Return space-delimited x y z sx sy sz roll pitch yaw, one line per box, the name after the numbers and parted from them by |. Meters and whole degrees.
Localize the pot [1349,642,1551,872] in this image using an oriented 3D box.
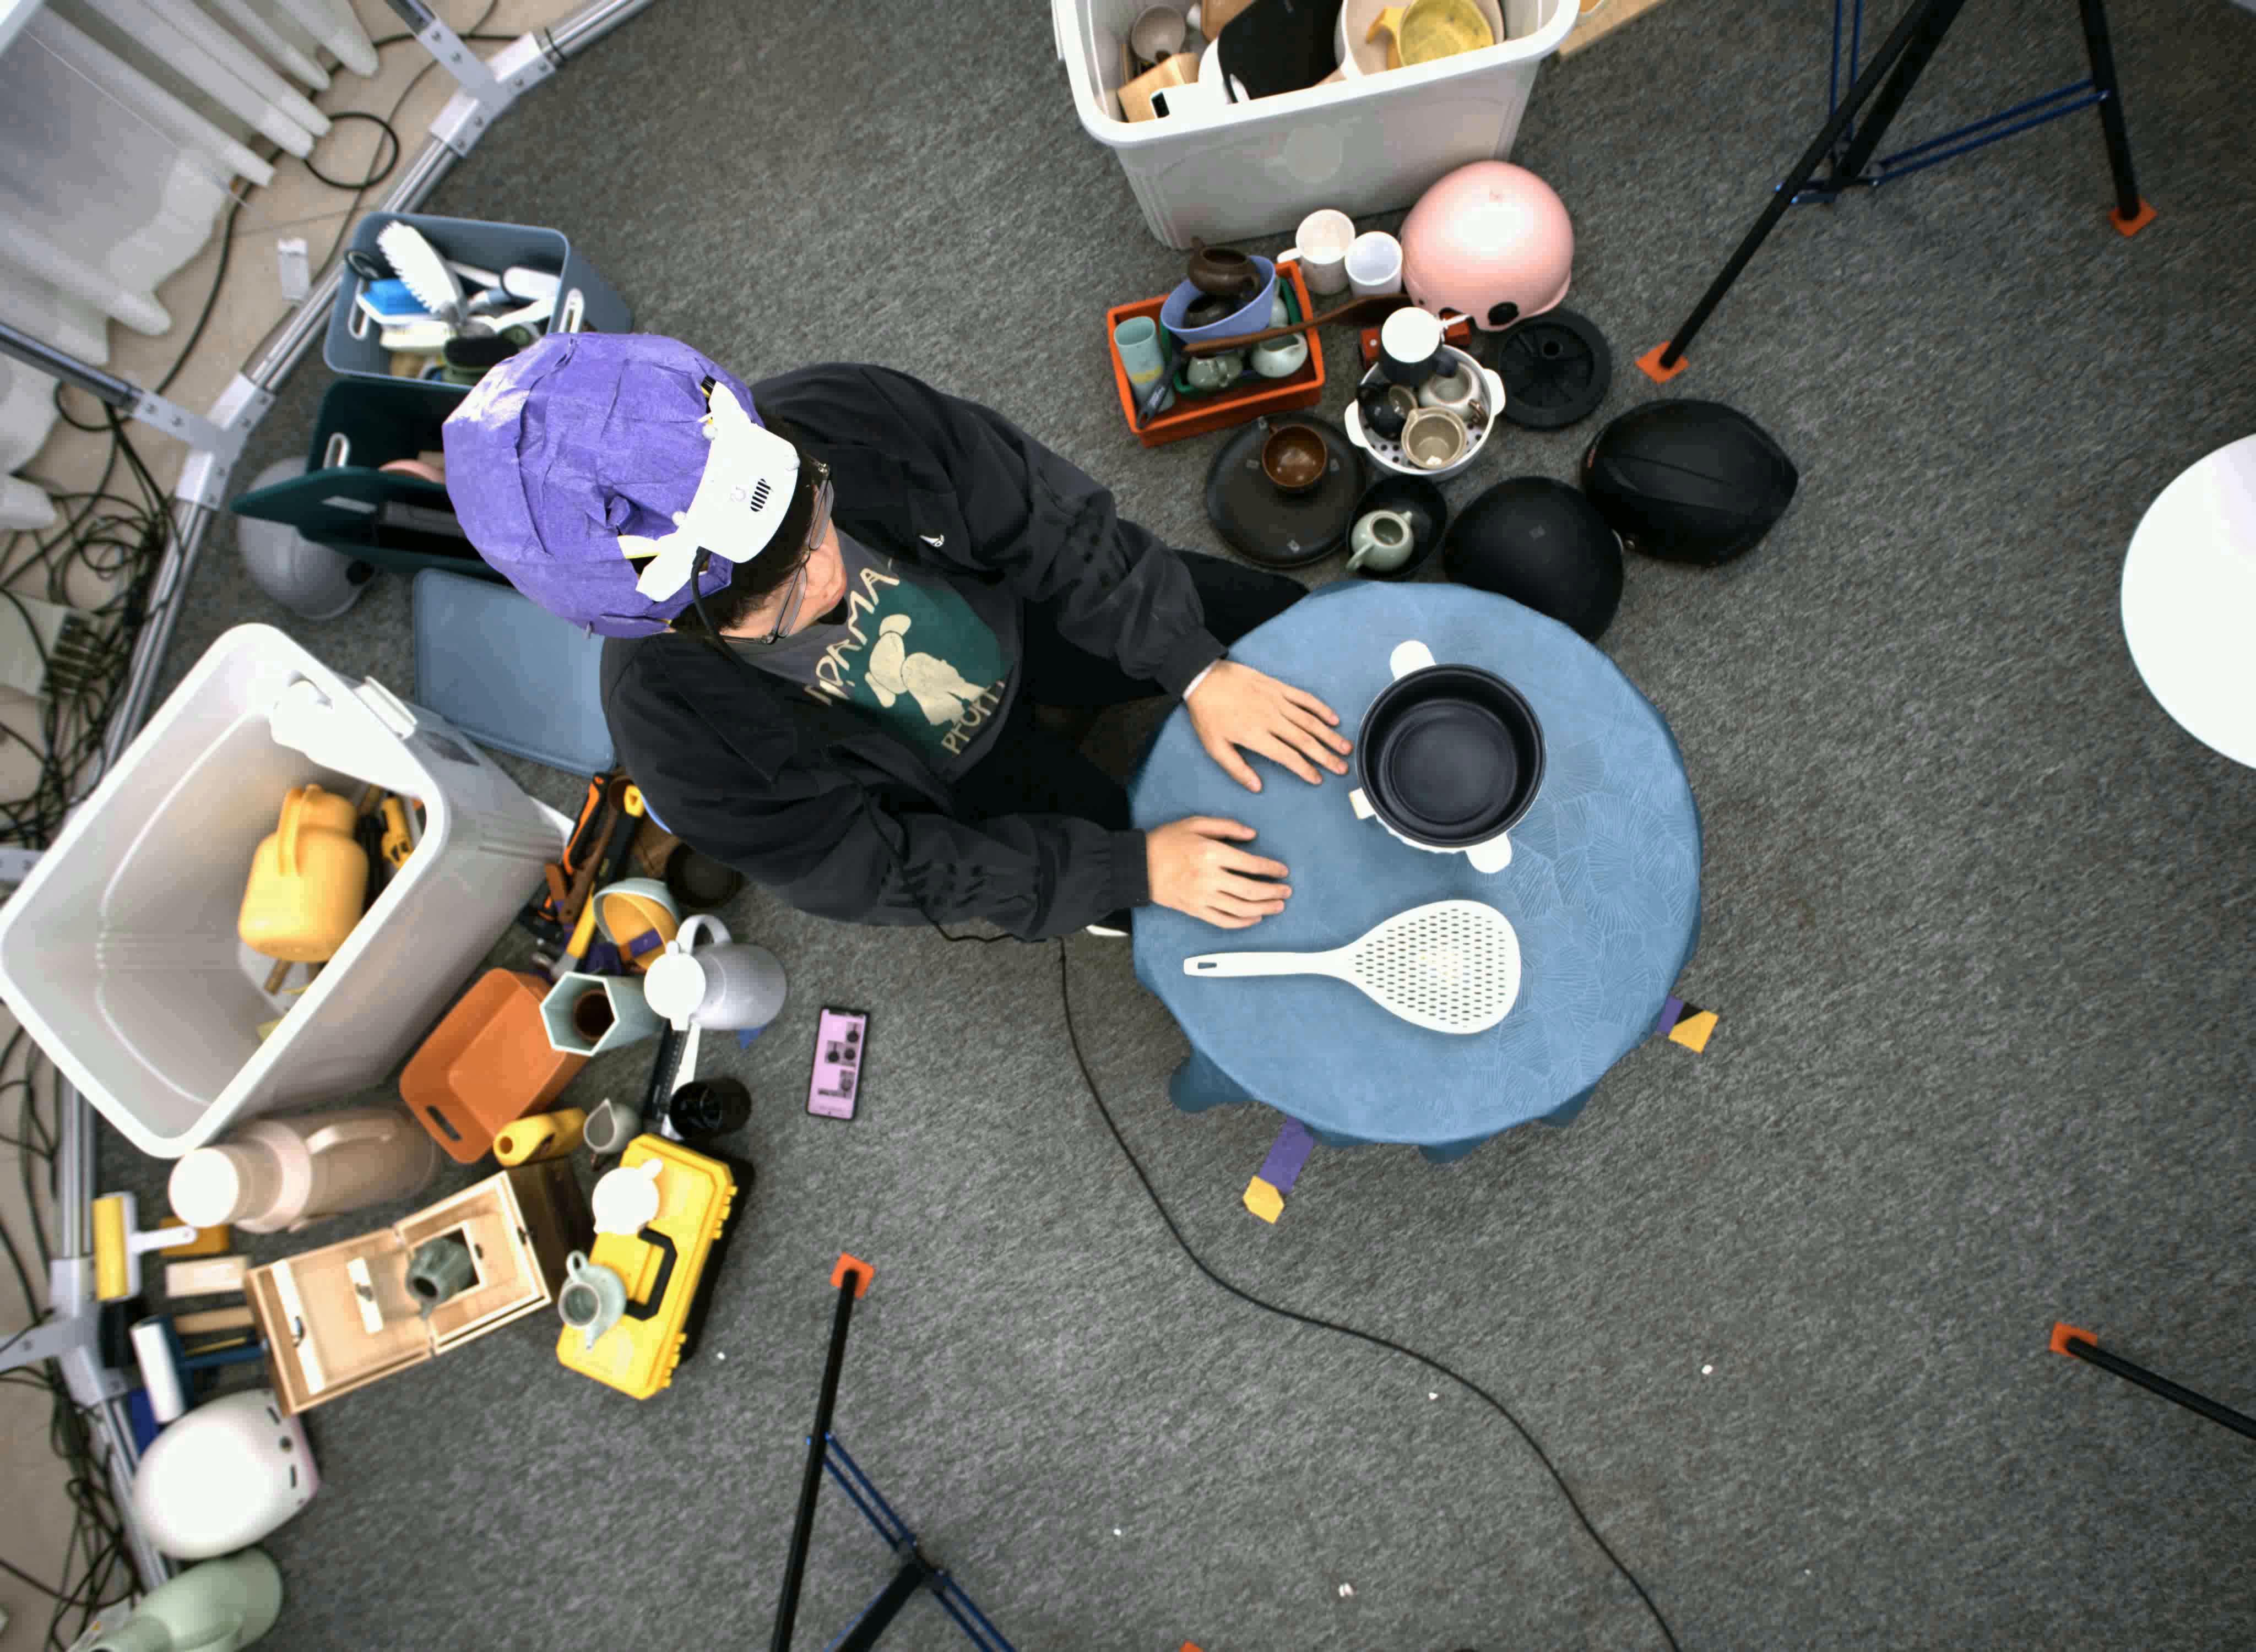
0.318 -0.060 1.386 0.191 0.143 0.238 -22 81 5 | pot

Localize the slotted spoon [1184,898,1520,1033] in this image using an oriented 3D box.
0.228 0.143 1.441 0.349 0.050 0.136 -1 88 10 | slotted spoon
